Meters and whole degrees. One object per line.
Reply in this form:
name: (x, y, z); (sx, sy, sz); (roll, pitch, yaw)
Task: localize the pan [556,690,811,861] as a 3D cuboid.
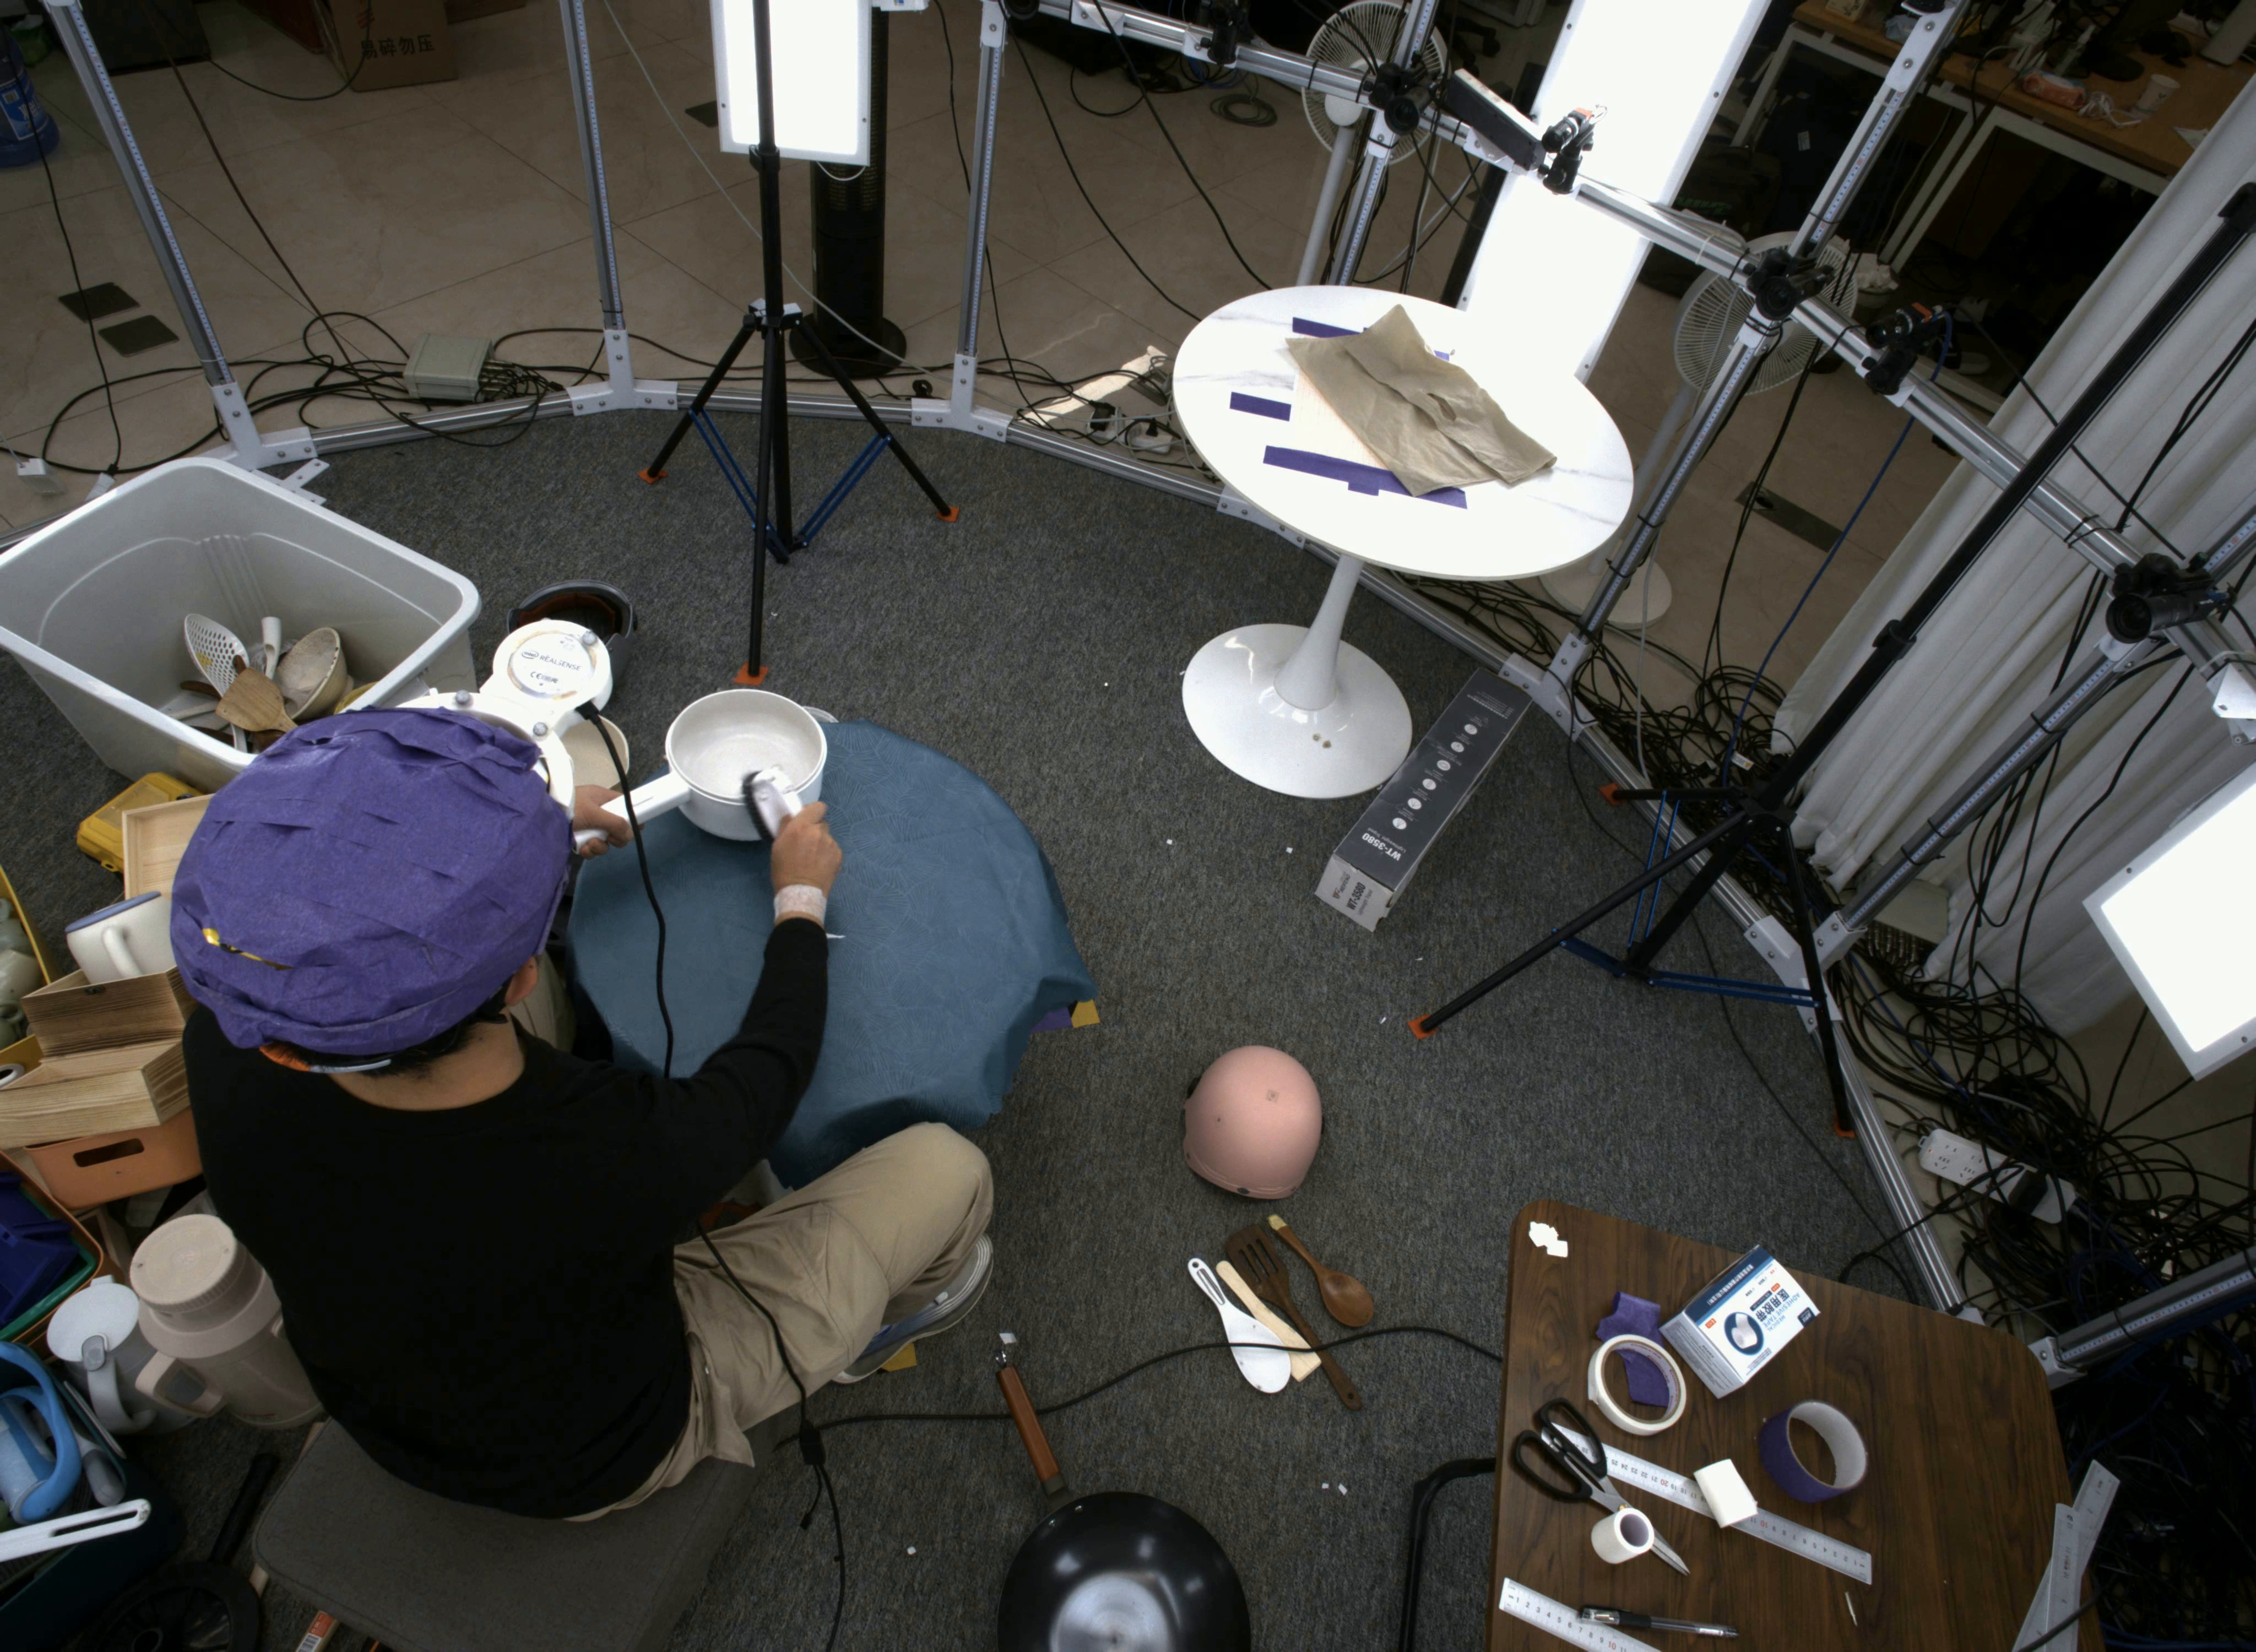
pan: (-0.568, -0.037, 1.635); (0.197, 0.104, 0.356); (43, 51, 16)

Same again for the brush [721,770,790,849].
brush: (-0.445, -0.021, 1.574); (0.070, 0.102, 0.050); (-1, 26, 44)
